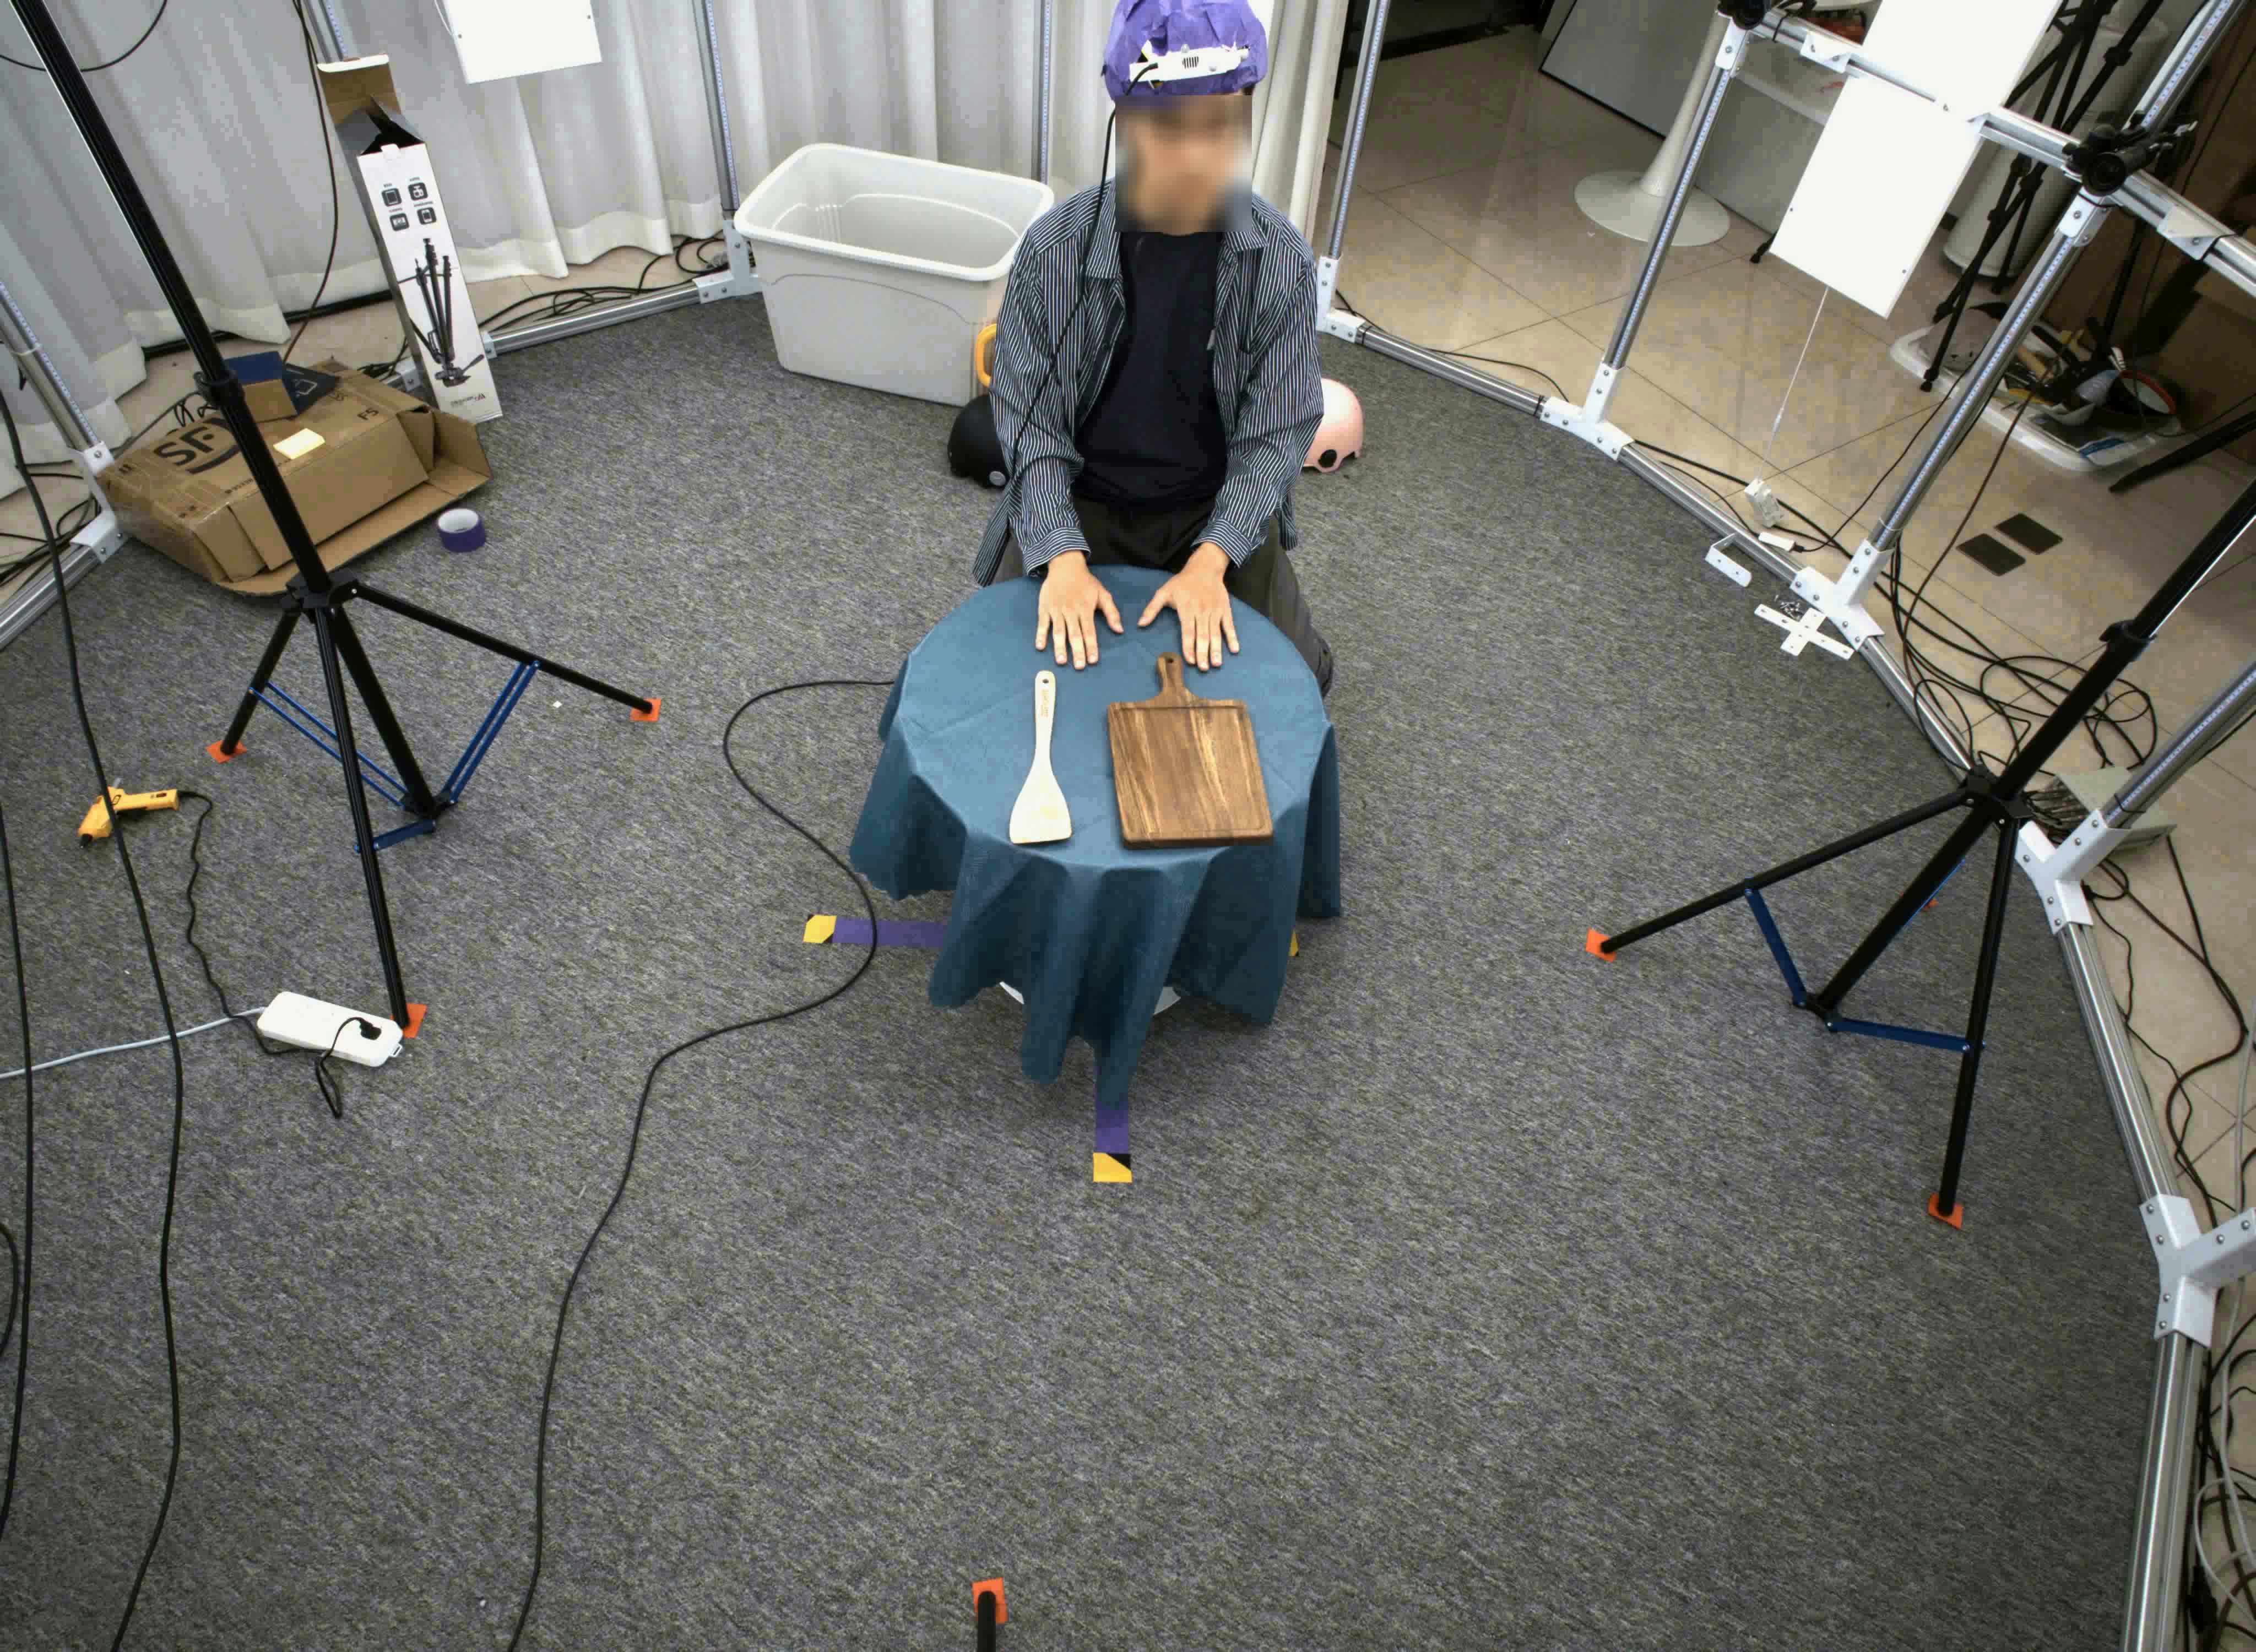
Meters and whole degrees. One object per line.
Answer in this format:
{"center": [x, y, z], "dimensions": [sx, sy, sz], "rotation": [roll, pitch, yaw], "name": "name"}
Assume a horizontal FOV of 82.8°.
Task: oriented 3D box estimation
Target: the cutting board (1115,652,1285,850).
{"center": [0.087, -0.112, 1.749], "dimensions": [0.201, 0.022, 0.361], "rotation": [-1, 49, -6], "name": "cutting board"}

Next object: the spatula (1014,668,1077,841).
{"center": [-0.111, -0.102, 1.726], "dimensions": [0.080, 0.016, 0.336], "rotation": [1, 49, -5], "name": "spatula"}
